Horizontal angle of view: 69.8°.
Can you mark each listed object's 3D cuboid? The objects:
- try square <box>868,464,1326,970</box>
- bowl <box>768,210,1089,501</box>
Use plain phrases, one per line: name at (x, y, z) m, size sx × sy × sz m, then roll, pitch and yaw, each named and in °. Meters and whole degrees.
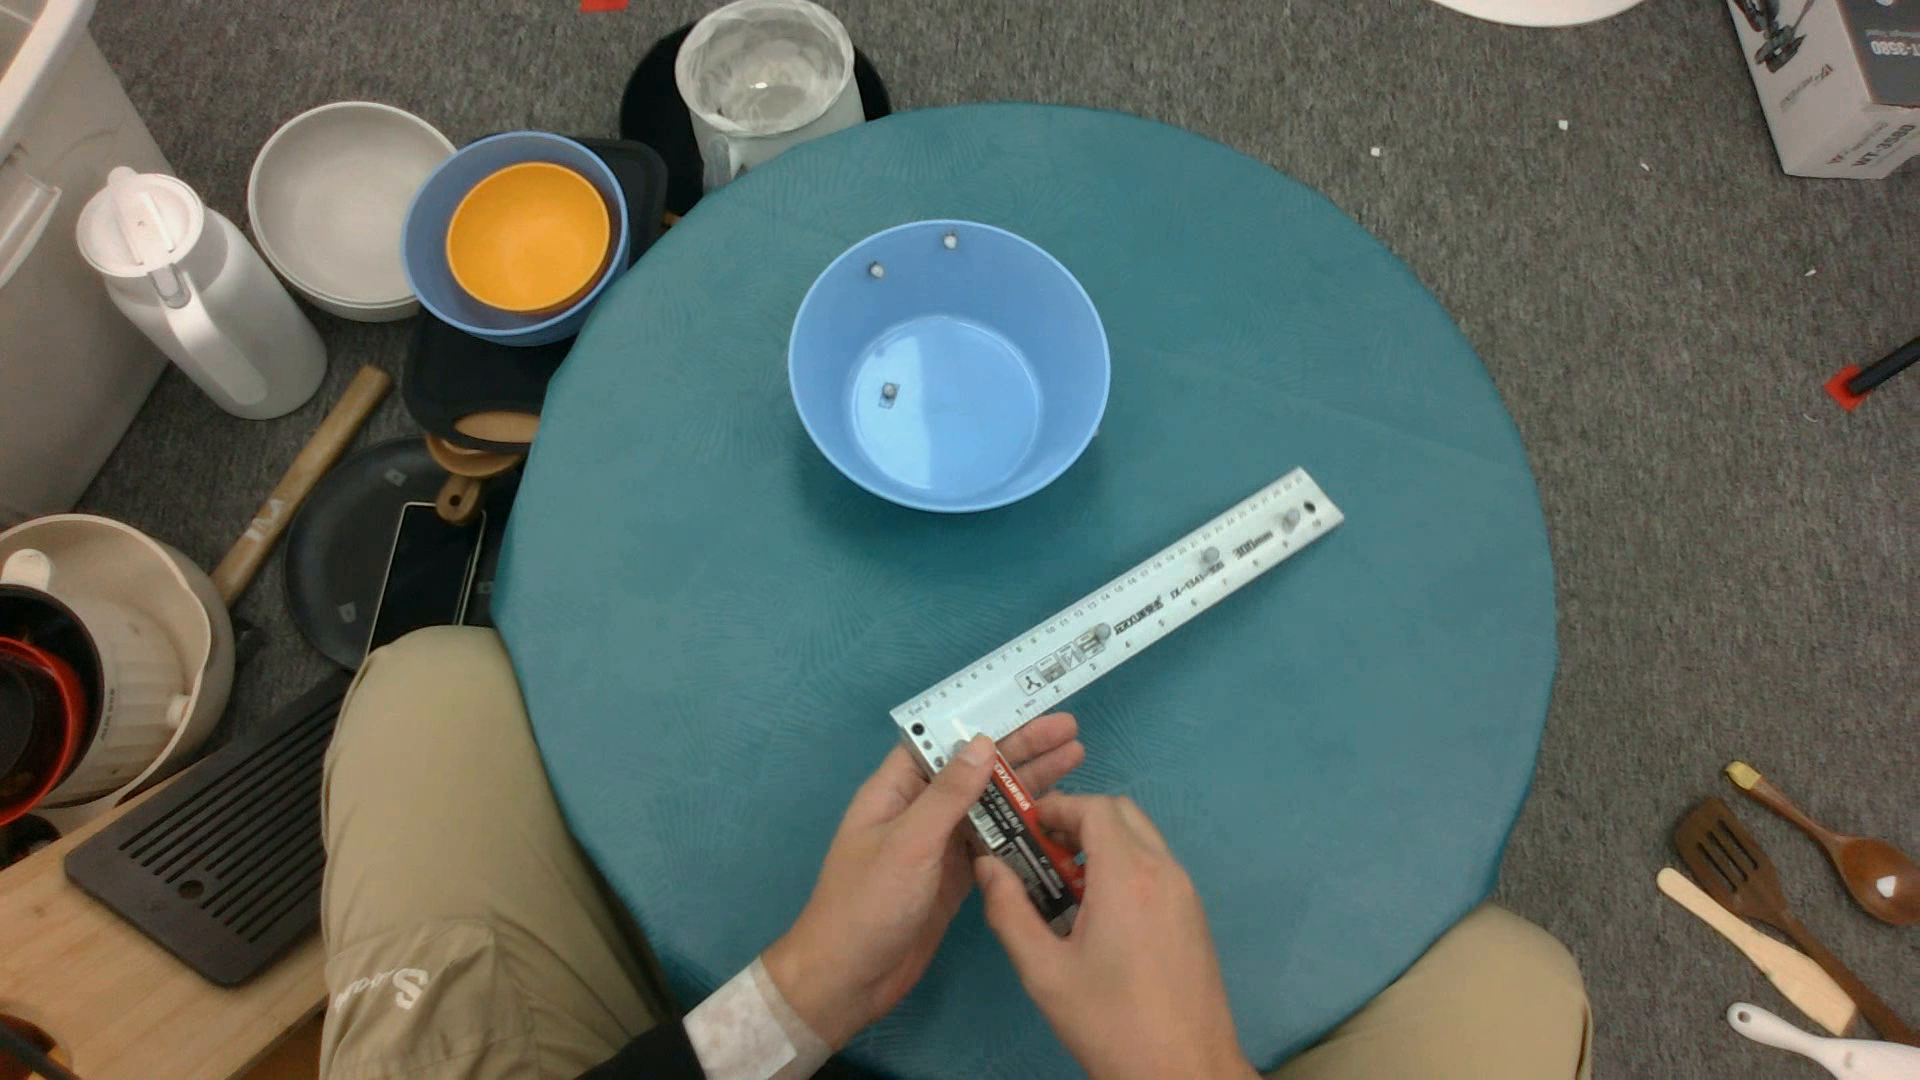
try square at (0.113, 0.076, 0.720) m, size 0.314 × 0.016 × 0.152 m, roll -26°, pitch 76°, yaw -31°
bowl at (-0.019, -0.093, 0.776) m, size 0.176 × 0.070 × 0.176 m, roll 2°, pitch 70°, yaw -6°
